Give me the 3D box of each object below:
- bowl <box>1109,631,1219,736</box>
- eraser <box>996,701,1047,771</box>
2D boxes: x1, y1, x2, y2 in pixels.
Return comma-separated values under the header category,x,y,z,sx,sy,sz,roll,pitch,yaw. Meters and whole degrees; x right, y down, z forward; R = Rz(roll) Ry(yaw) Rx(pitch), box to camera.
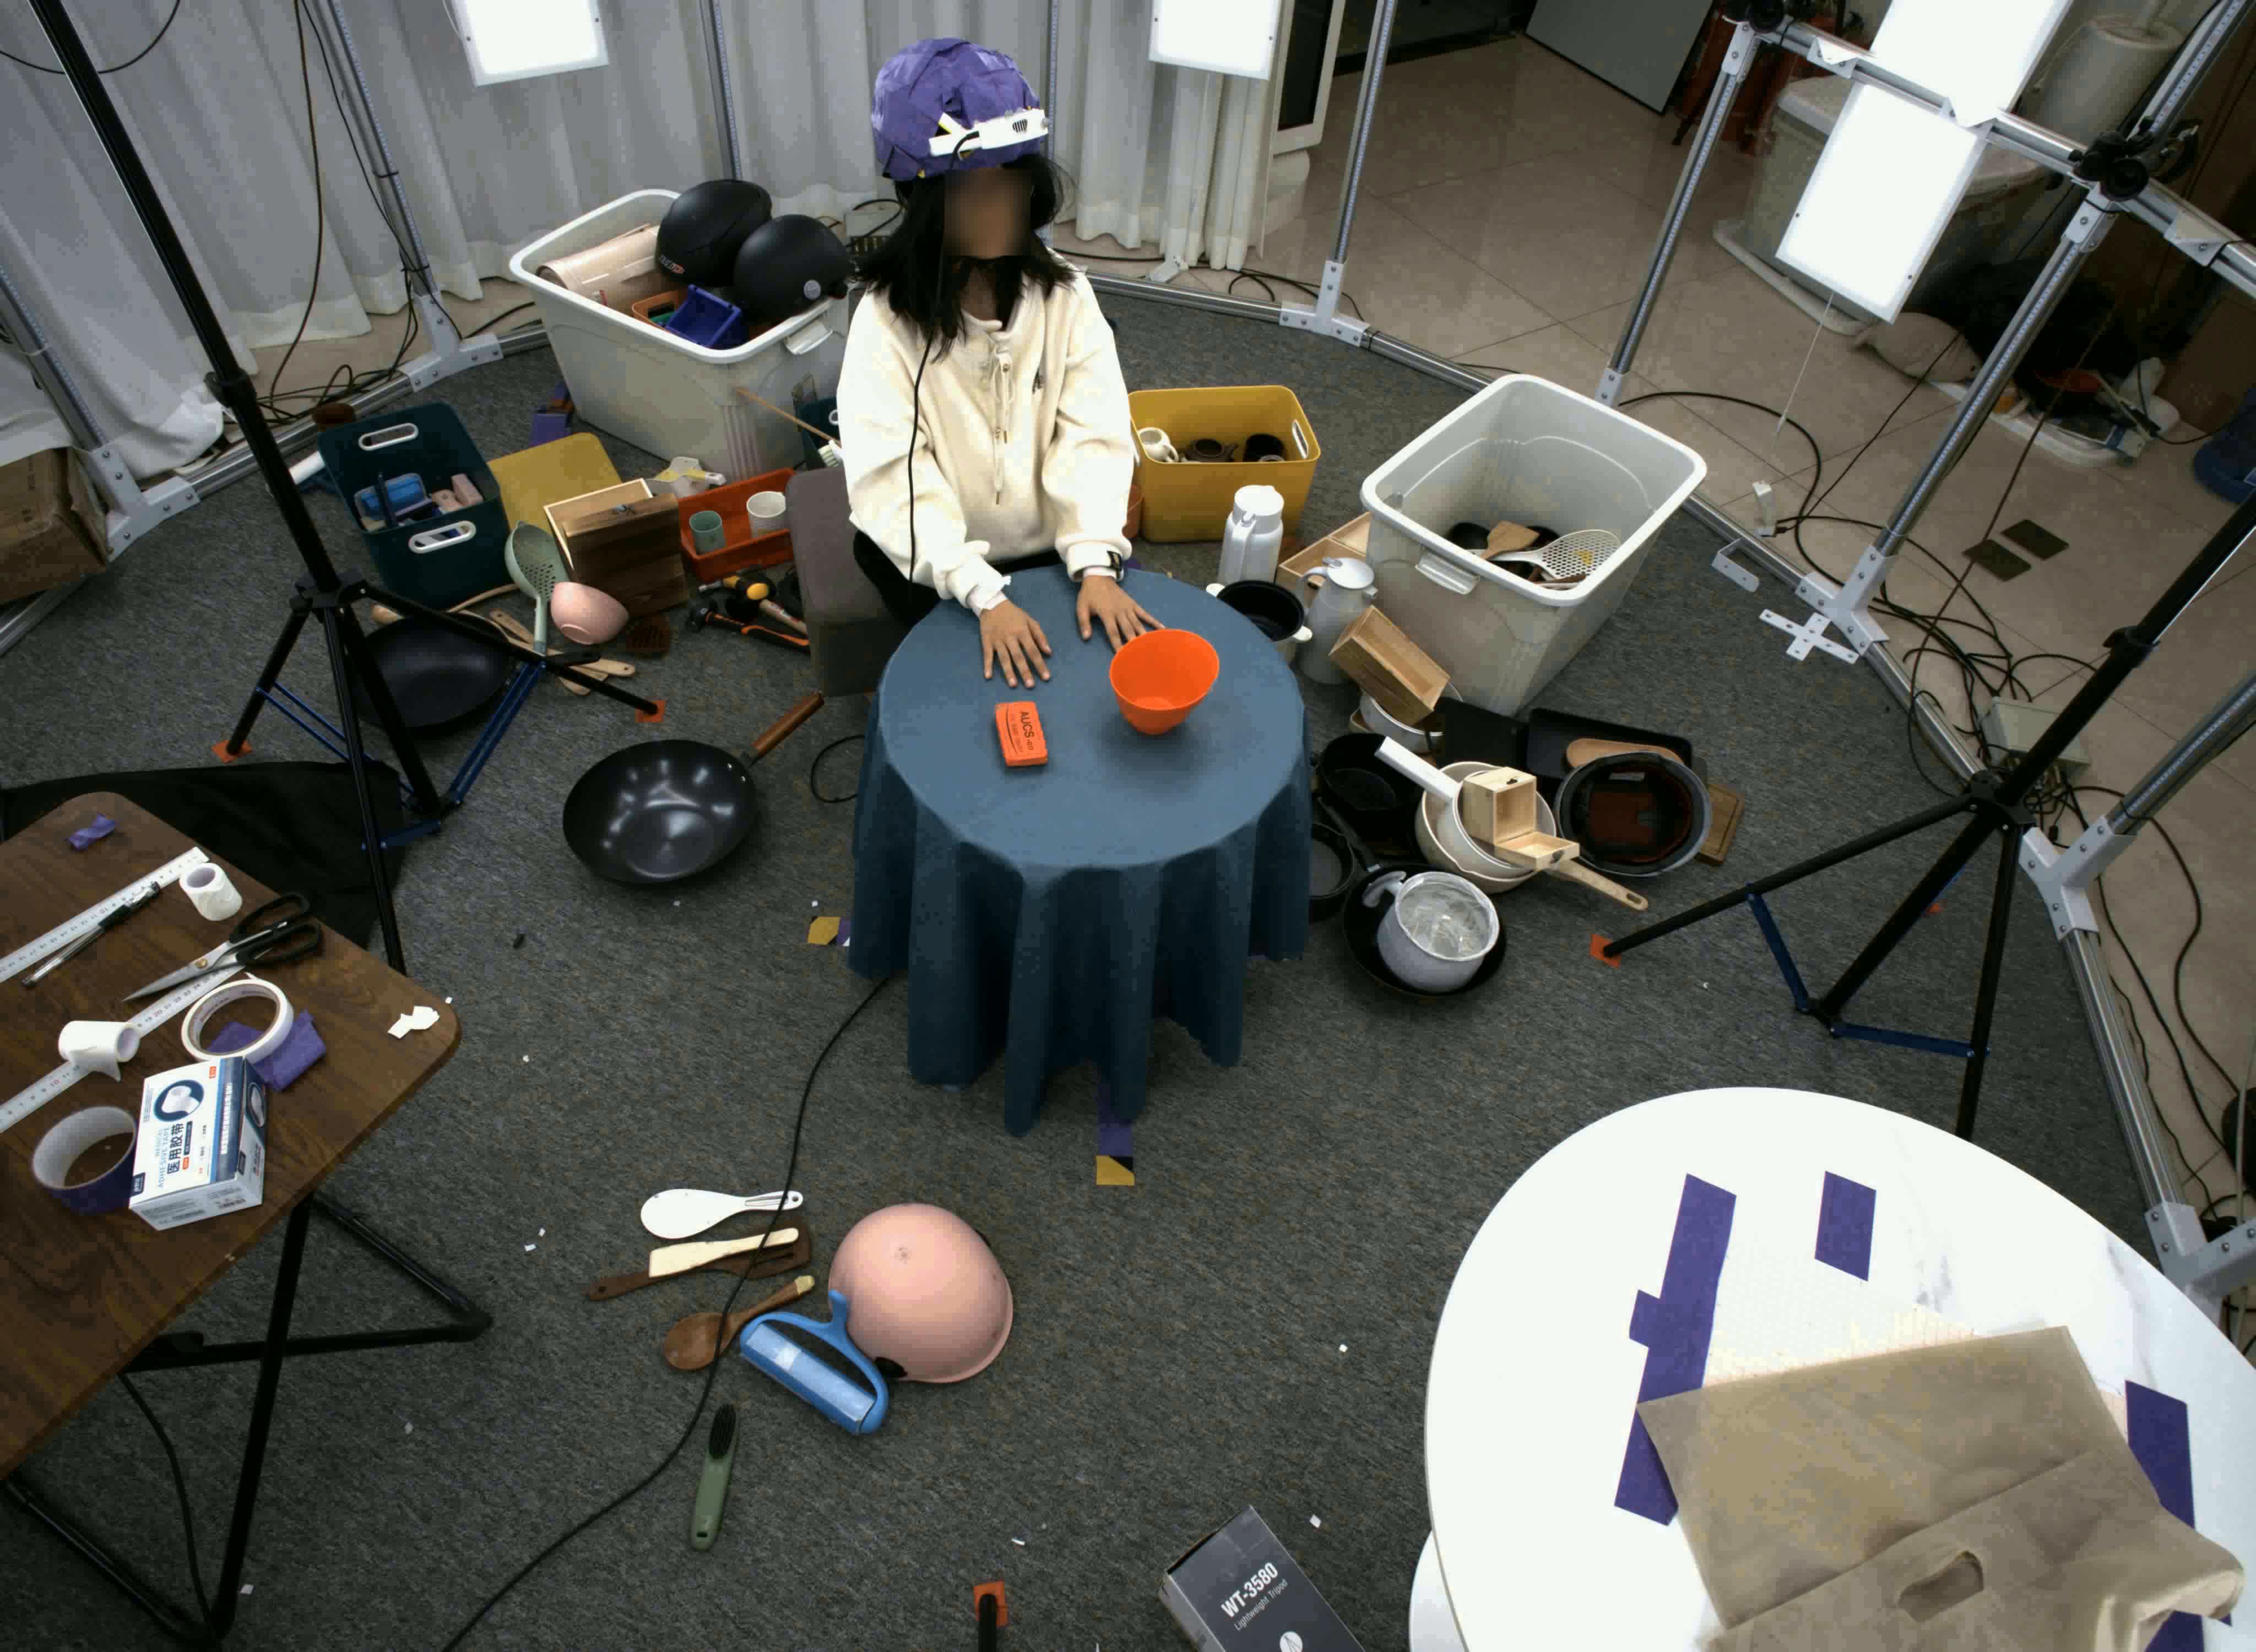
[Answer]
category,x,y,z,sx,sy,sz,roll,pitch,yaw
bowl,0.047,-0.186,1.769,0.148,0.102,0.152,2,50,-3
eraser,-0.146,-0.124,1.752,0.059,0.022,0.111,-8,50,-8
